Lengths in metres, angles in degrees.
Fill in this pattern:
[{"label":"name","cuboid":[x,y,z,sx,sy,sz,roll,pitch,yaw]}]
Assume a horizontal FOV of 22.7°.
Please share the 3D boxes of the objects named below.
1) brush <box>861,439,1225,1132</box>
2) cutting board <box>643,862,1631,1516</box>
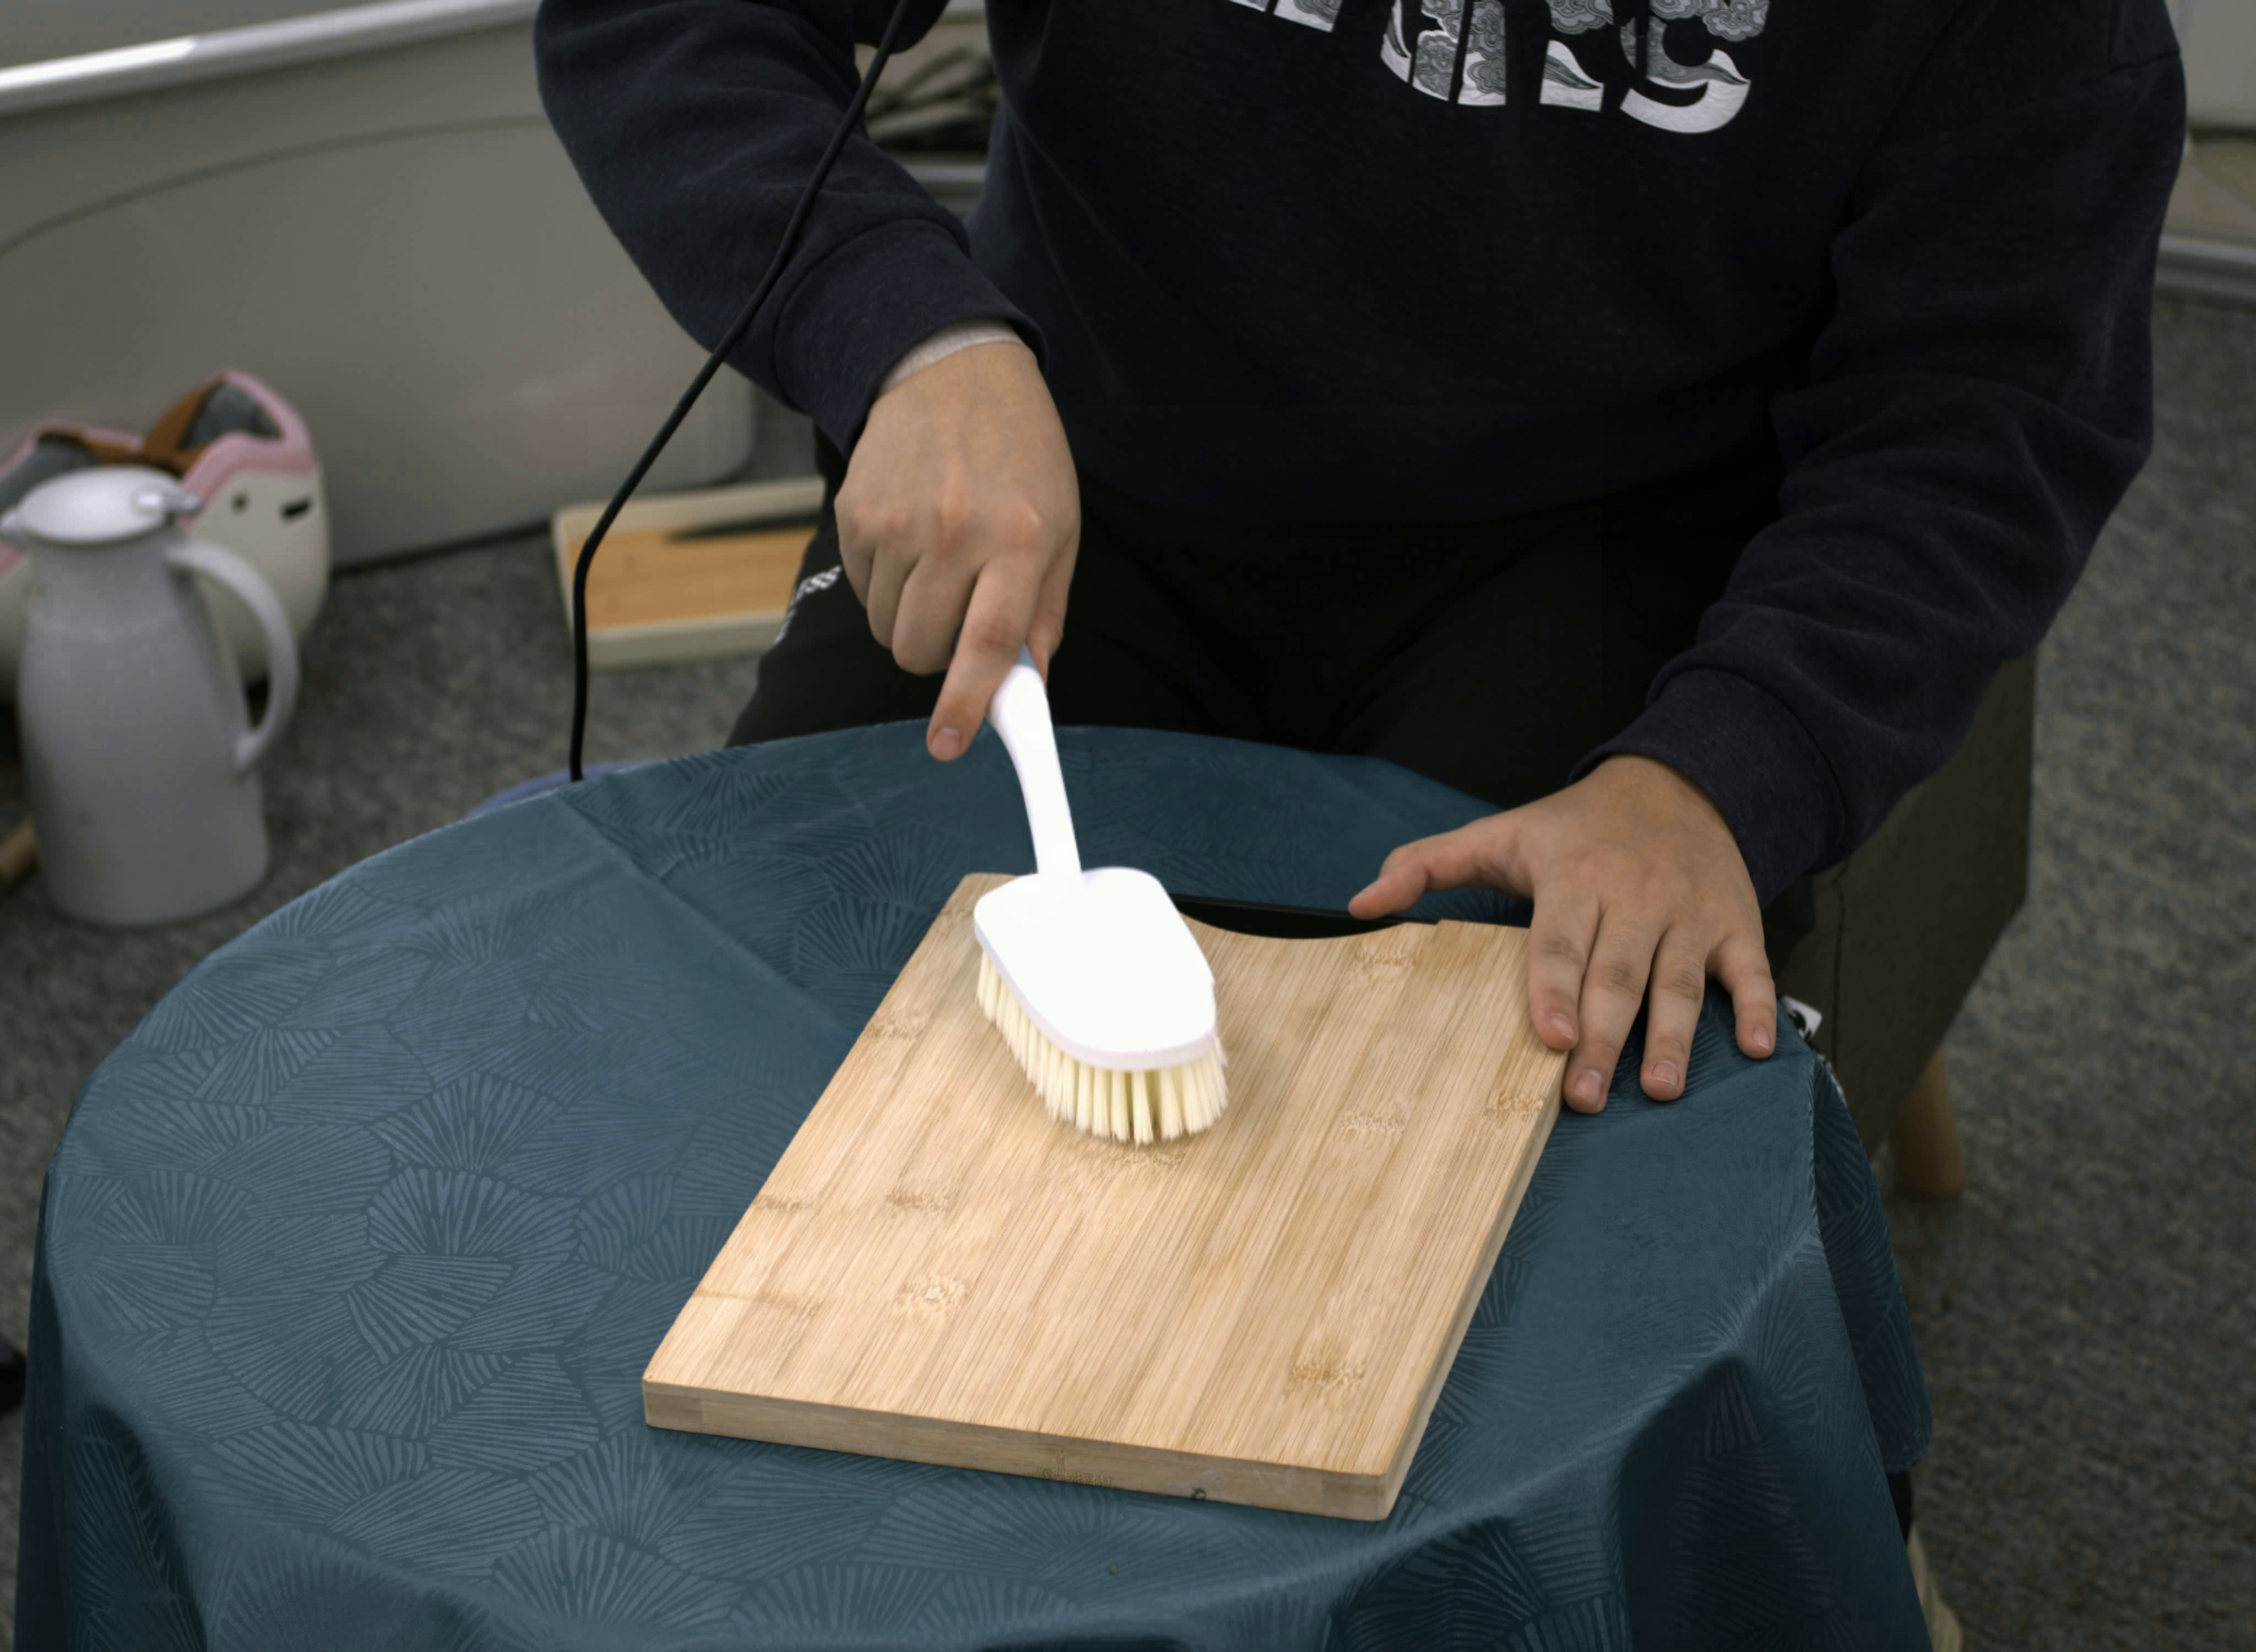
[{"label":"brush","cuboid":[-0.033,-0.008,1.971,0.083,0.083,0.330,18,32,-36]},{"label":"cutting board","cuboid":[0.012,0.111,1.866,0.249,0.023,0.355,6,29,14]}]
